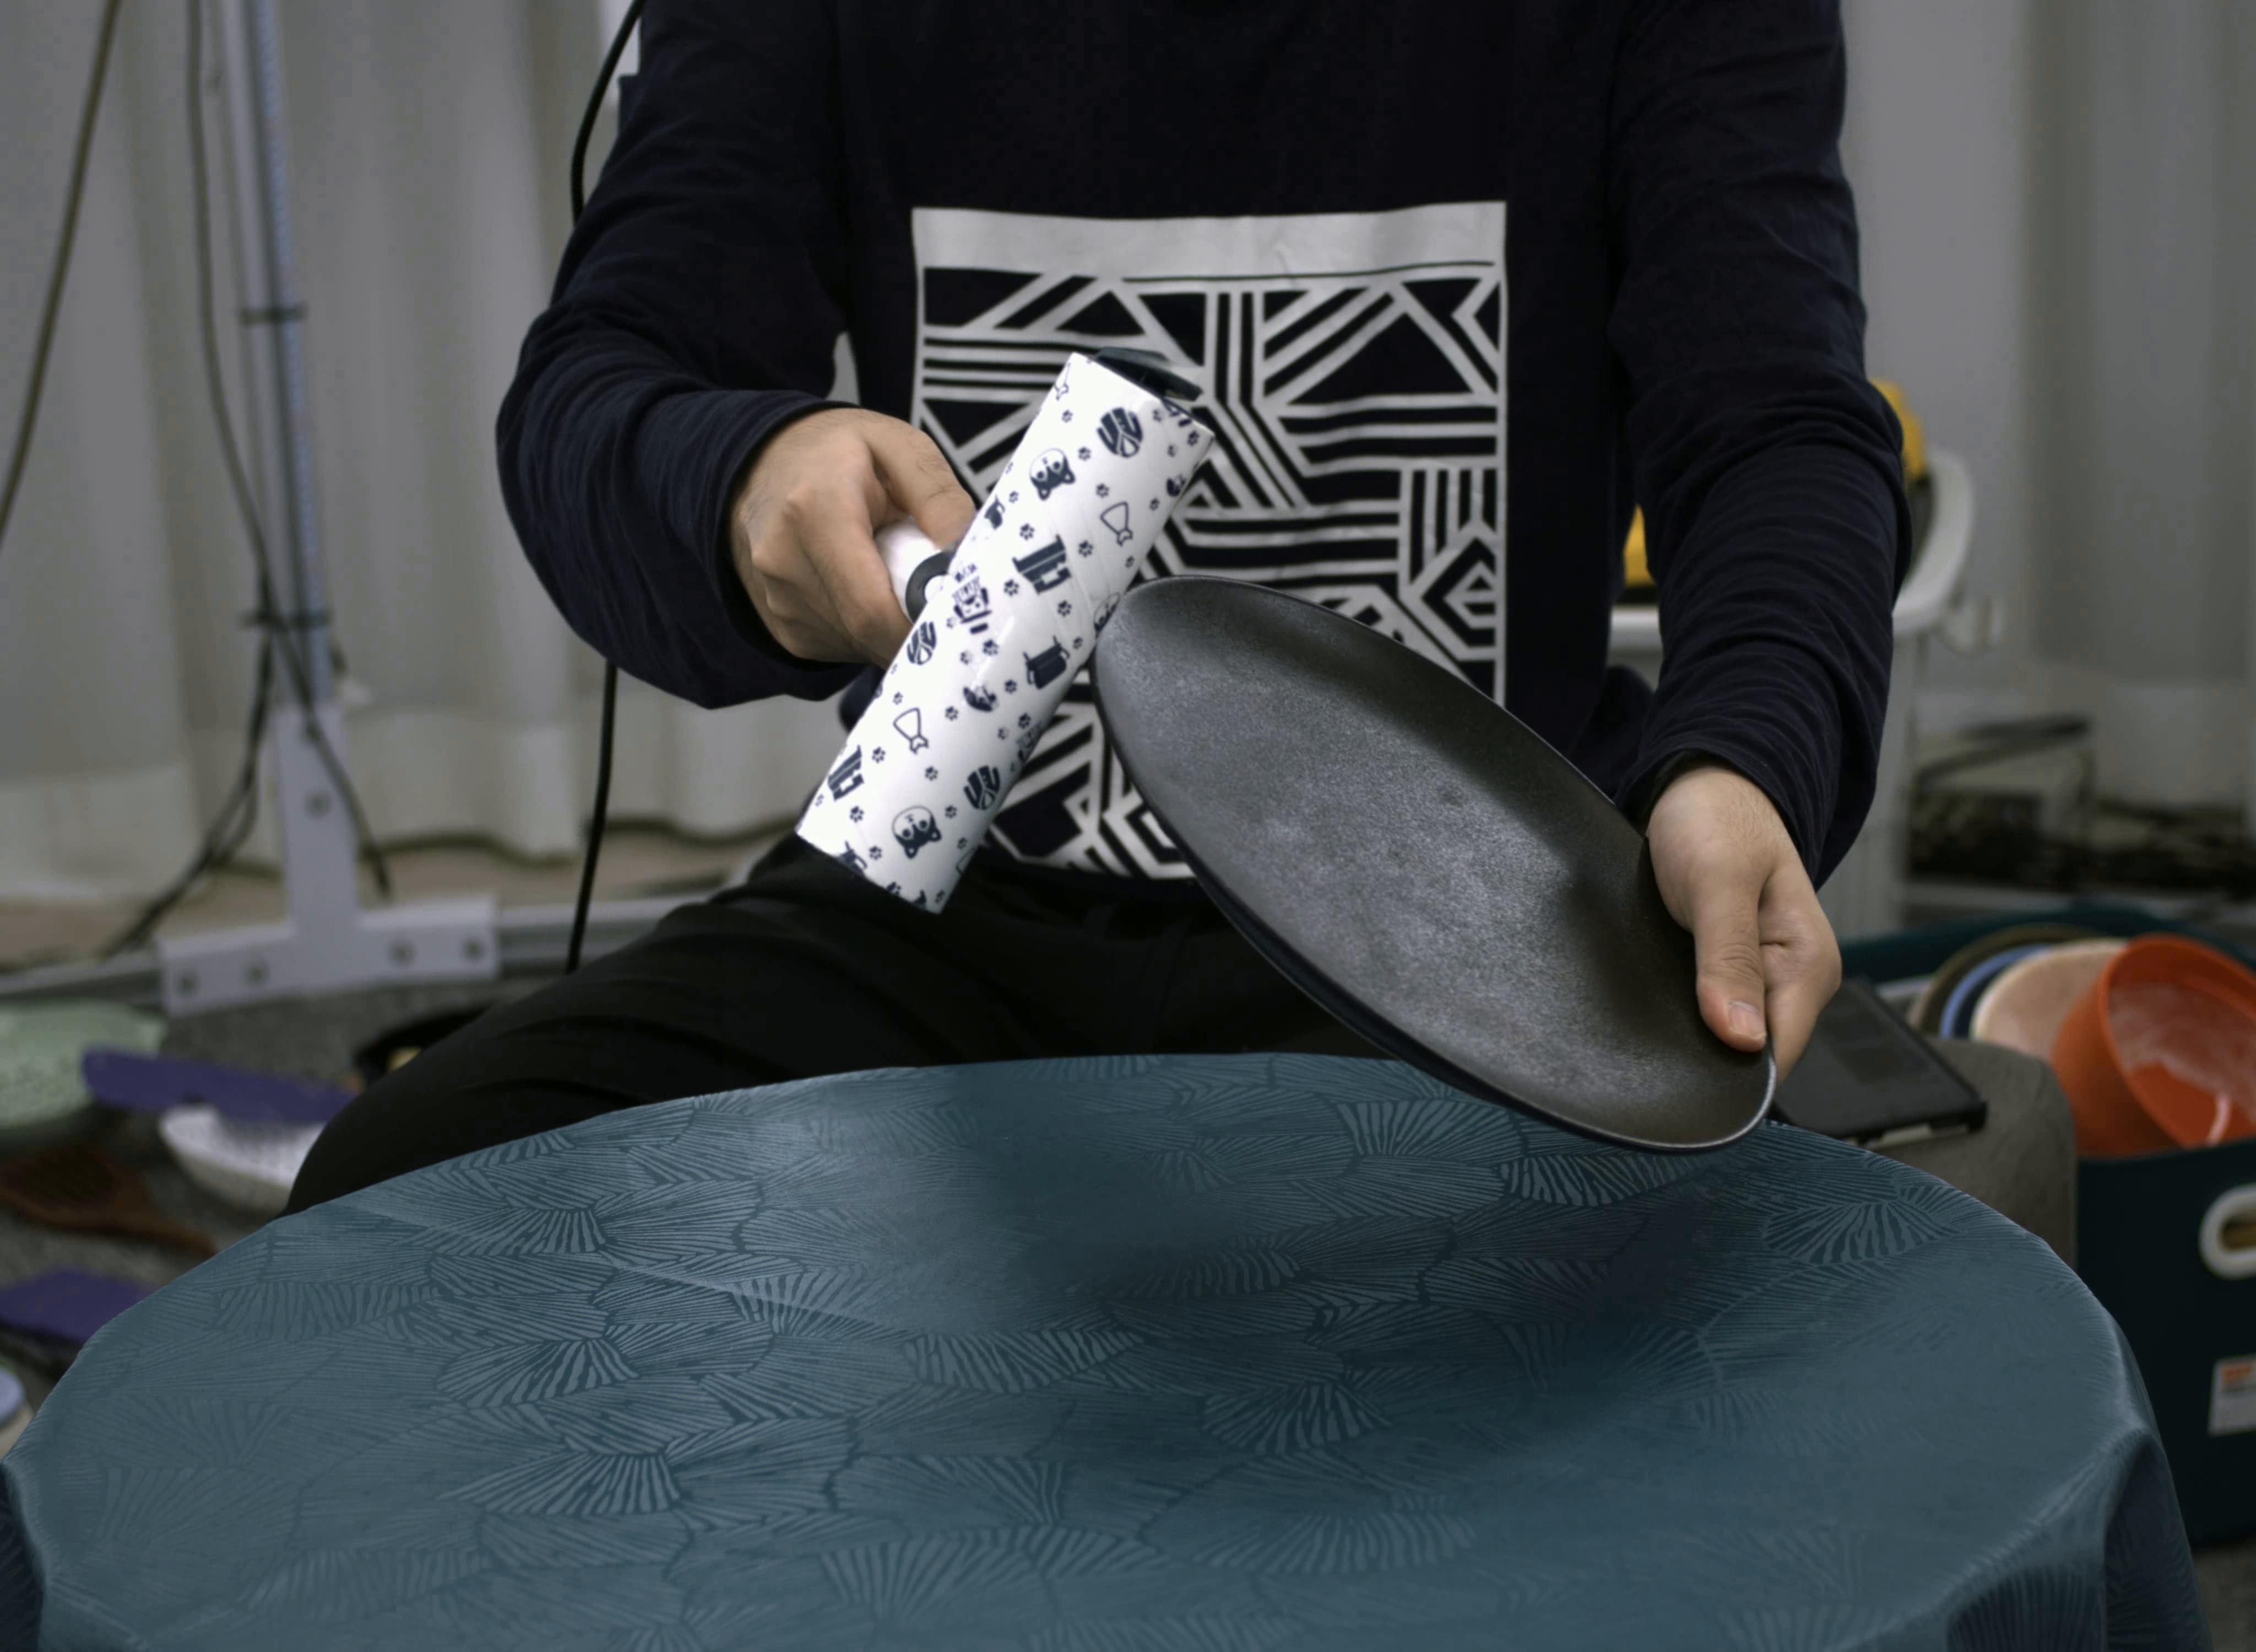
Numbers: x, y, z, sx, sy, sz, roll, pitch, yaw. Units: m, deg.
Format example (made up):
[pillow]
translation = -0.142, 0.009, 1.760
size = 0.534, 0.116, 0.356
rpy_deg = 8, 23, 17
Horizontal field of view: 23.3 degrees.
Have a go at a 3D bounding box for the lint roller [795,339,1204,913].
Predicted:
[lint roller]
translation = -0.058, -0.071, 1.661
size = 0.050, 0.176, 0.248
rpy_deg = 29, 1, -15

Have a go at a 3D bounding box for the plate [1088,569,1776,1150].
[plate]
translation = 0.086, 0.014, 1.604
size = 0.242, 0.023, 0.247
rpy_deg = 29, 25, -16
